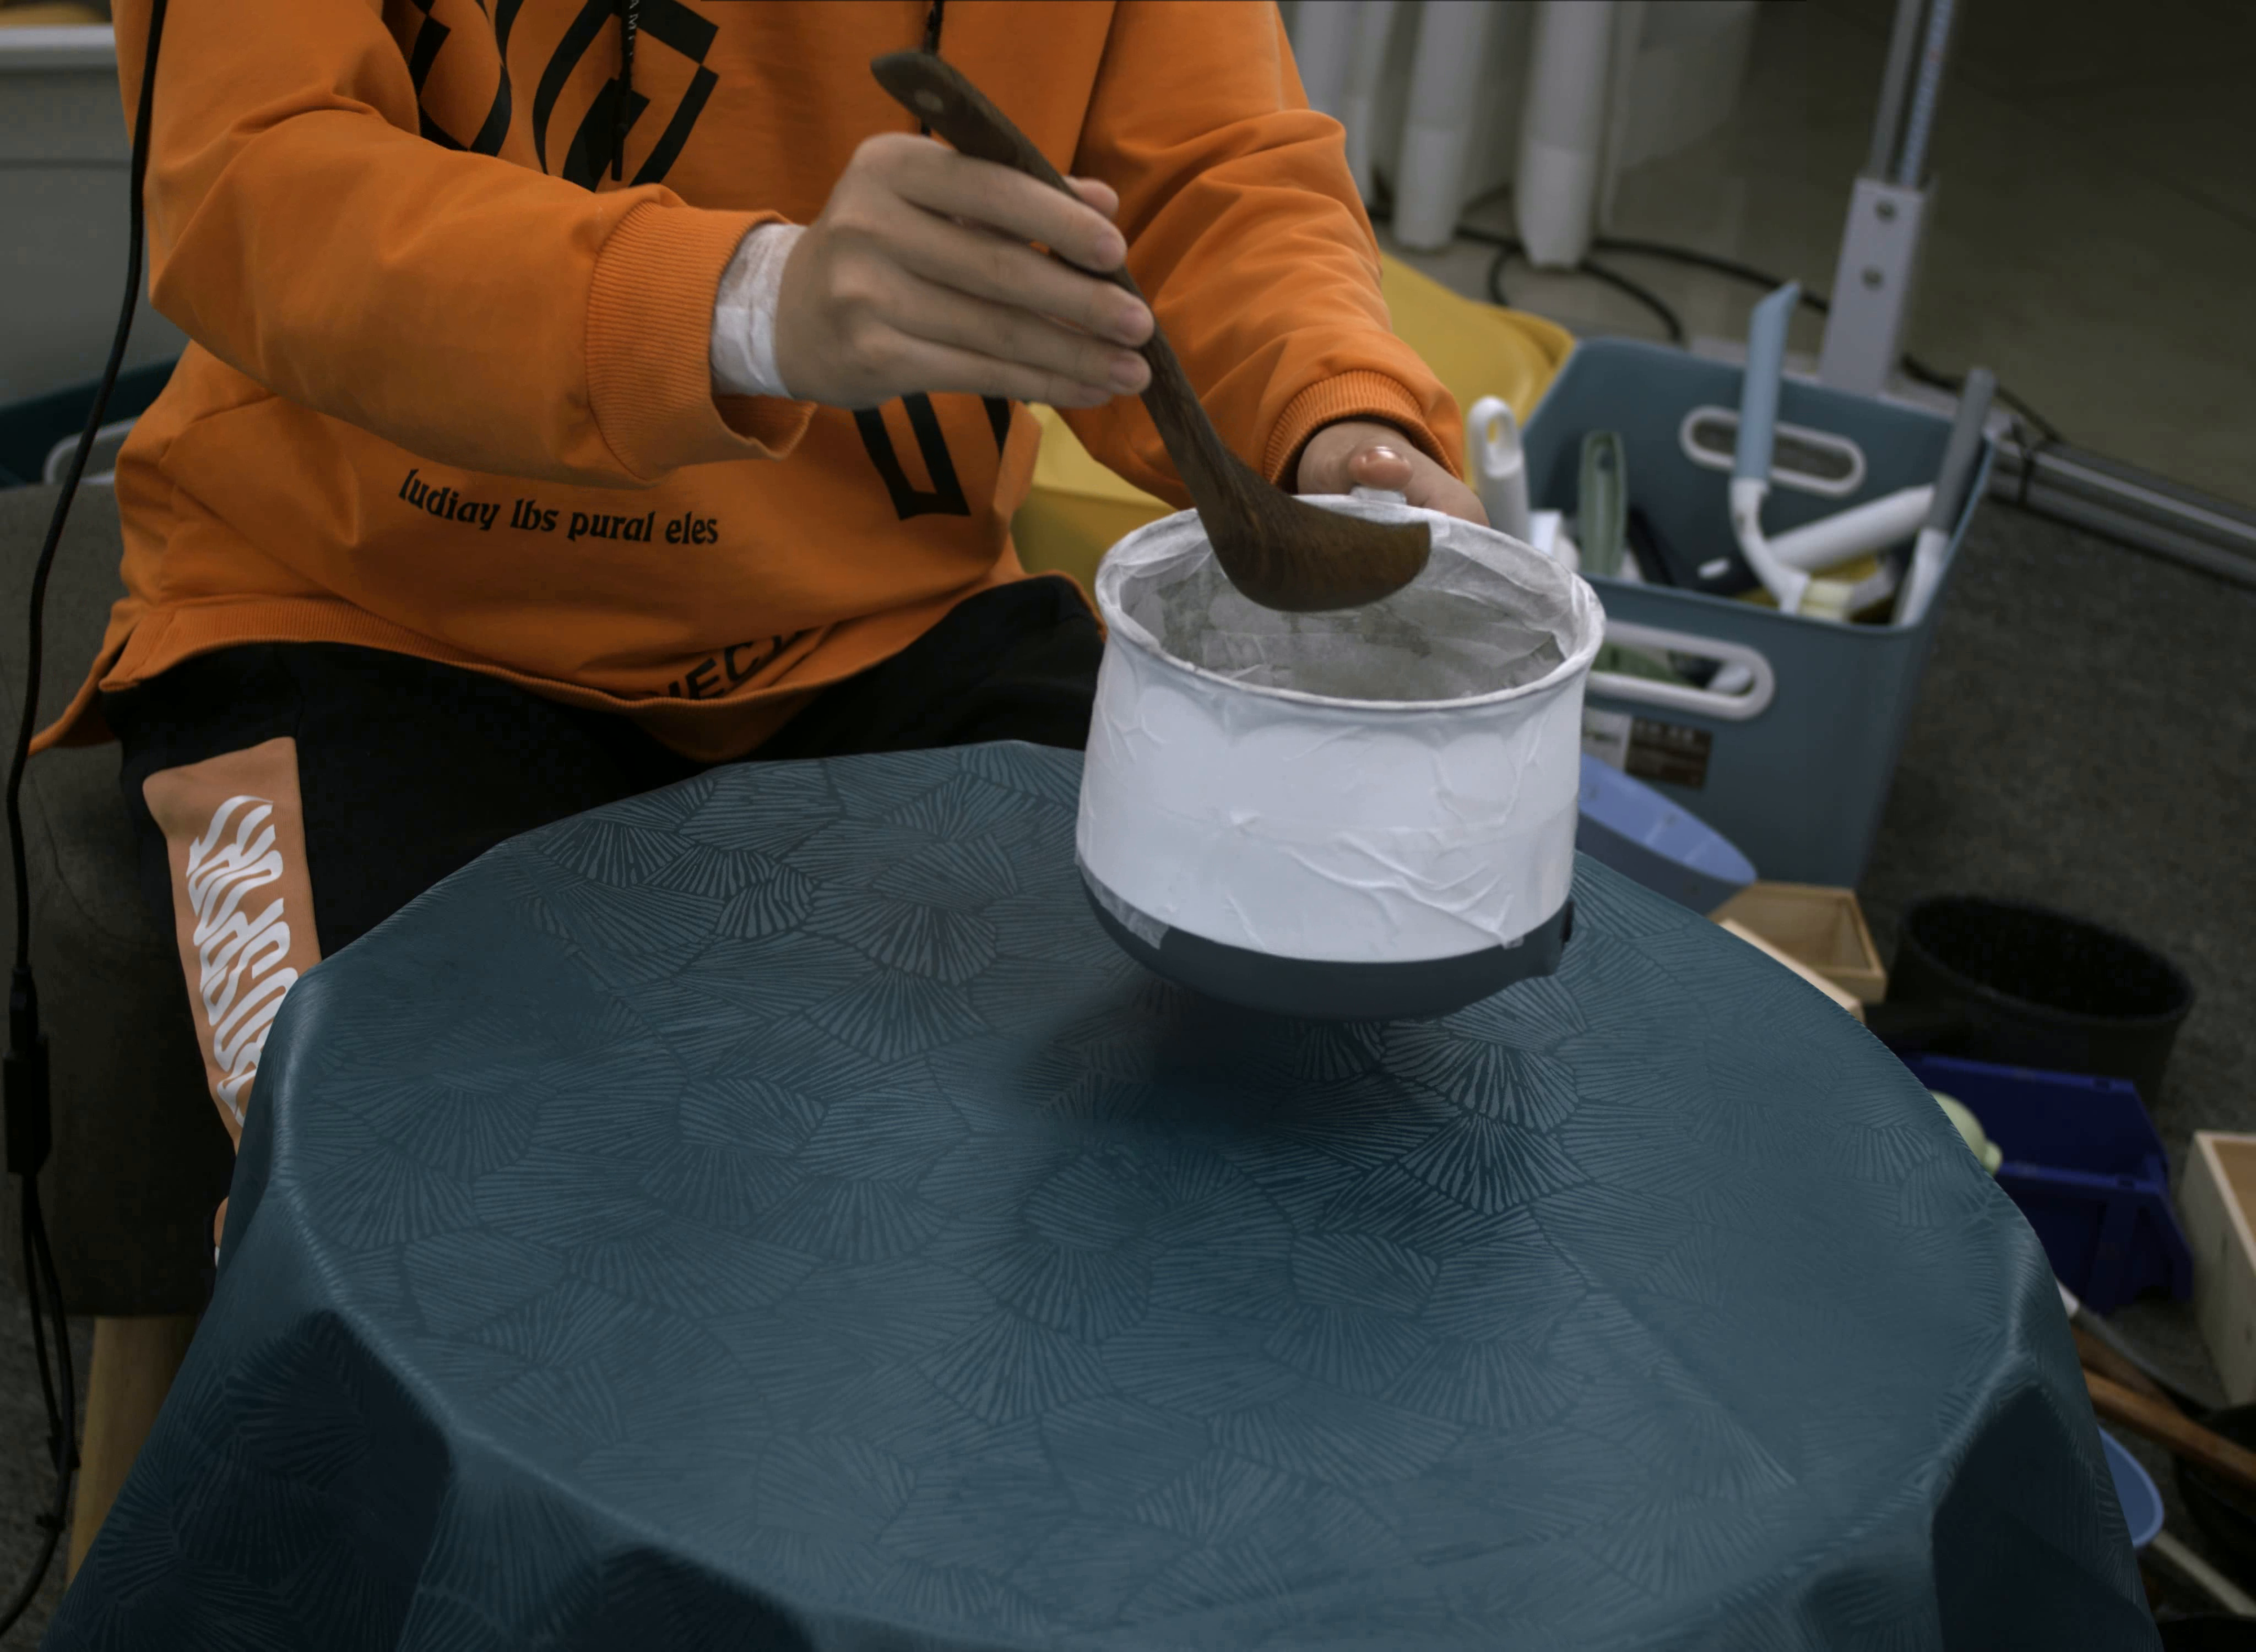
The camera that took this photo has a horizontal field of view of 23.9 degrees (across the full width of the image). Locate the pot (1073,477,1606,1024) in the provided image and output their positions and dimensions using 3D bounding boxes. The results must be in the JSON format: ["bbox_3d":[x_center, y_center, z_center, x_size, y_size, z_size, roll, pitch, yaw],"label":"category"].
[{"bbox_3d":[0.074,-0.034,1.882,0.178,0.136,0.235,7,26,4],"label":"pot"}]

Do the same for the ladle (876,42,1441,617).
[{"bbox_3d":[0.012,-0.173,1.798,0.076,0.272,0.071,-15,33,40],"label":"ladle"}]
